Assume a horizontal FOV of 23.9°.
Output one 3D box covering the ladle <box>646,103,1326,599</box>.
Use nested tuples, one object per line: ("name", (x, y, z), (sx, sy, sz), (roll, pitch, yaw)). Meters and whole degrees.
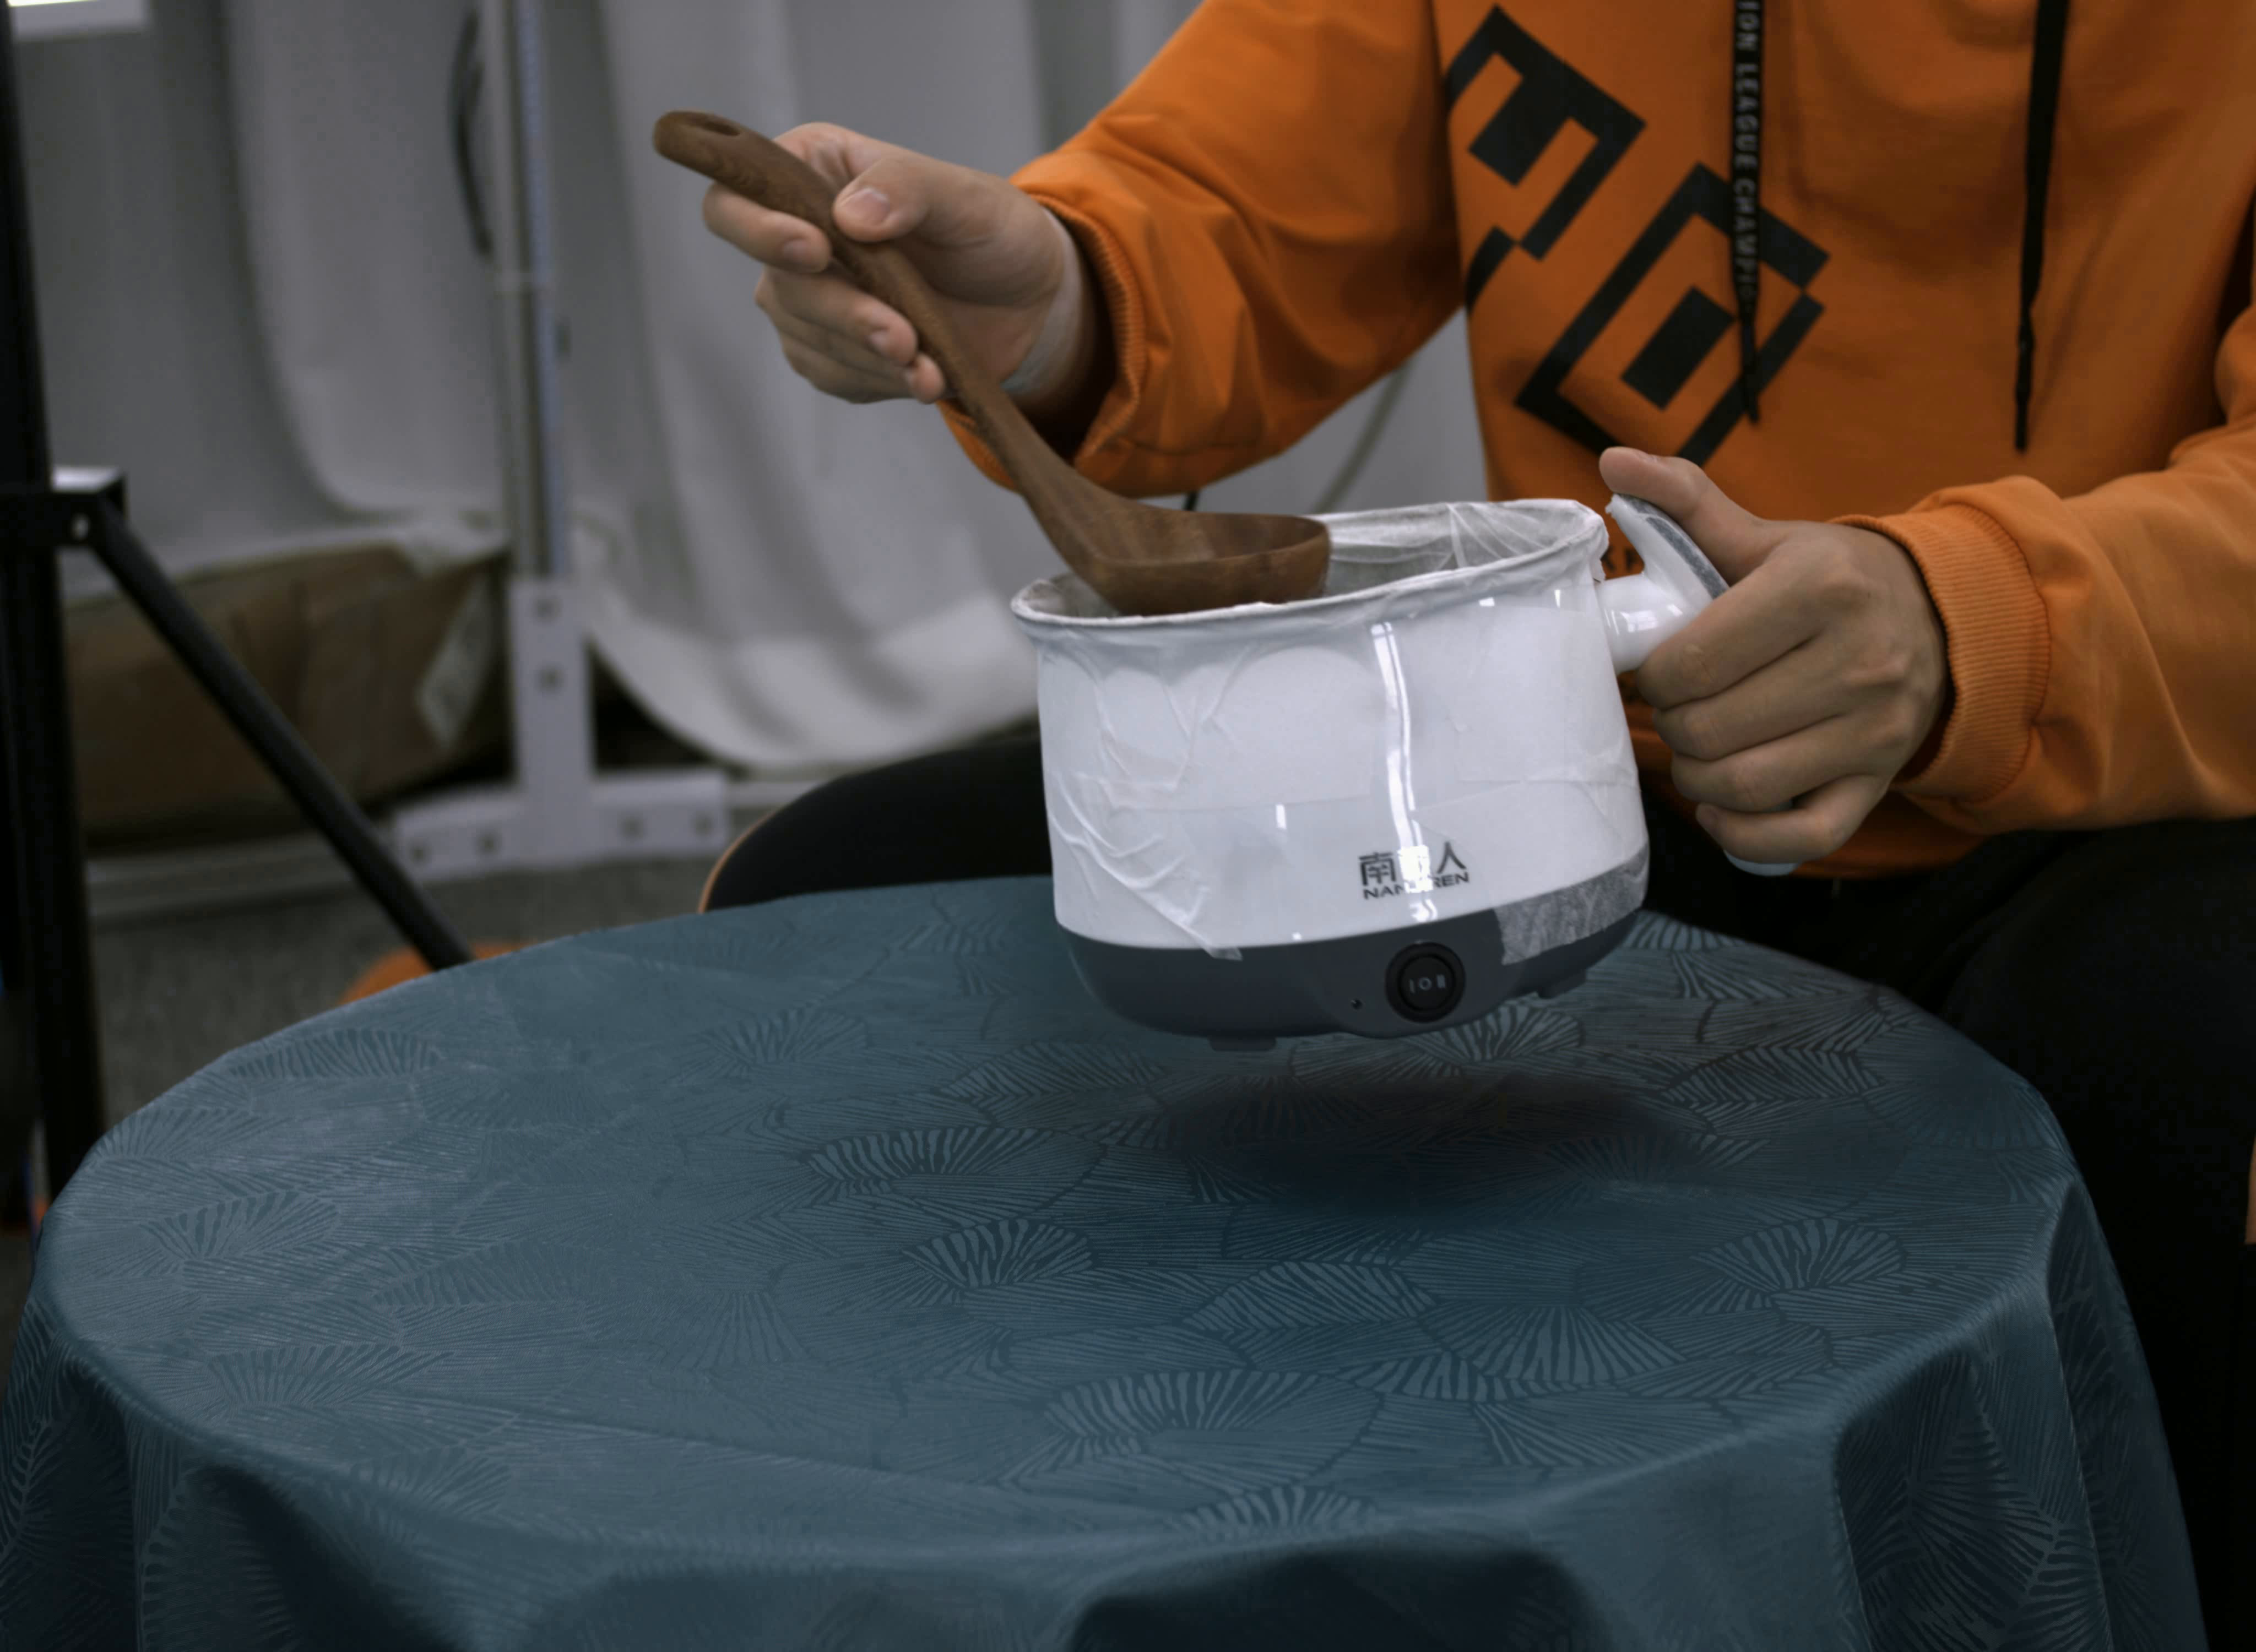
("ladle", (-0.044, -0.147, 1.609), (0.263, 0.065, 0.075), (47, 28, 16))

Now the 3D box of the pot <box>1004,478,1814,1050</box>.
("pot", (0.087, -0.023, 1.581), (0.231, 0.136, 0.180), (-11, 11, -9))
